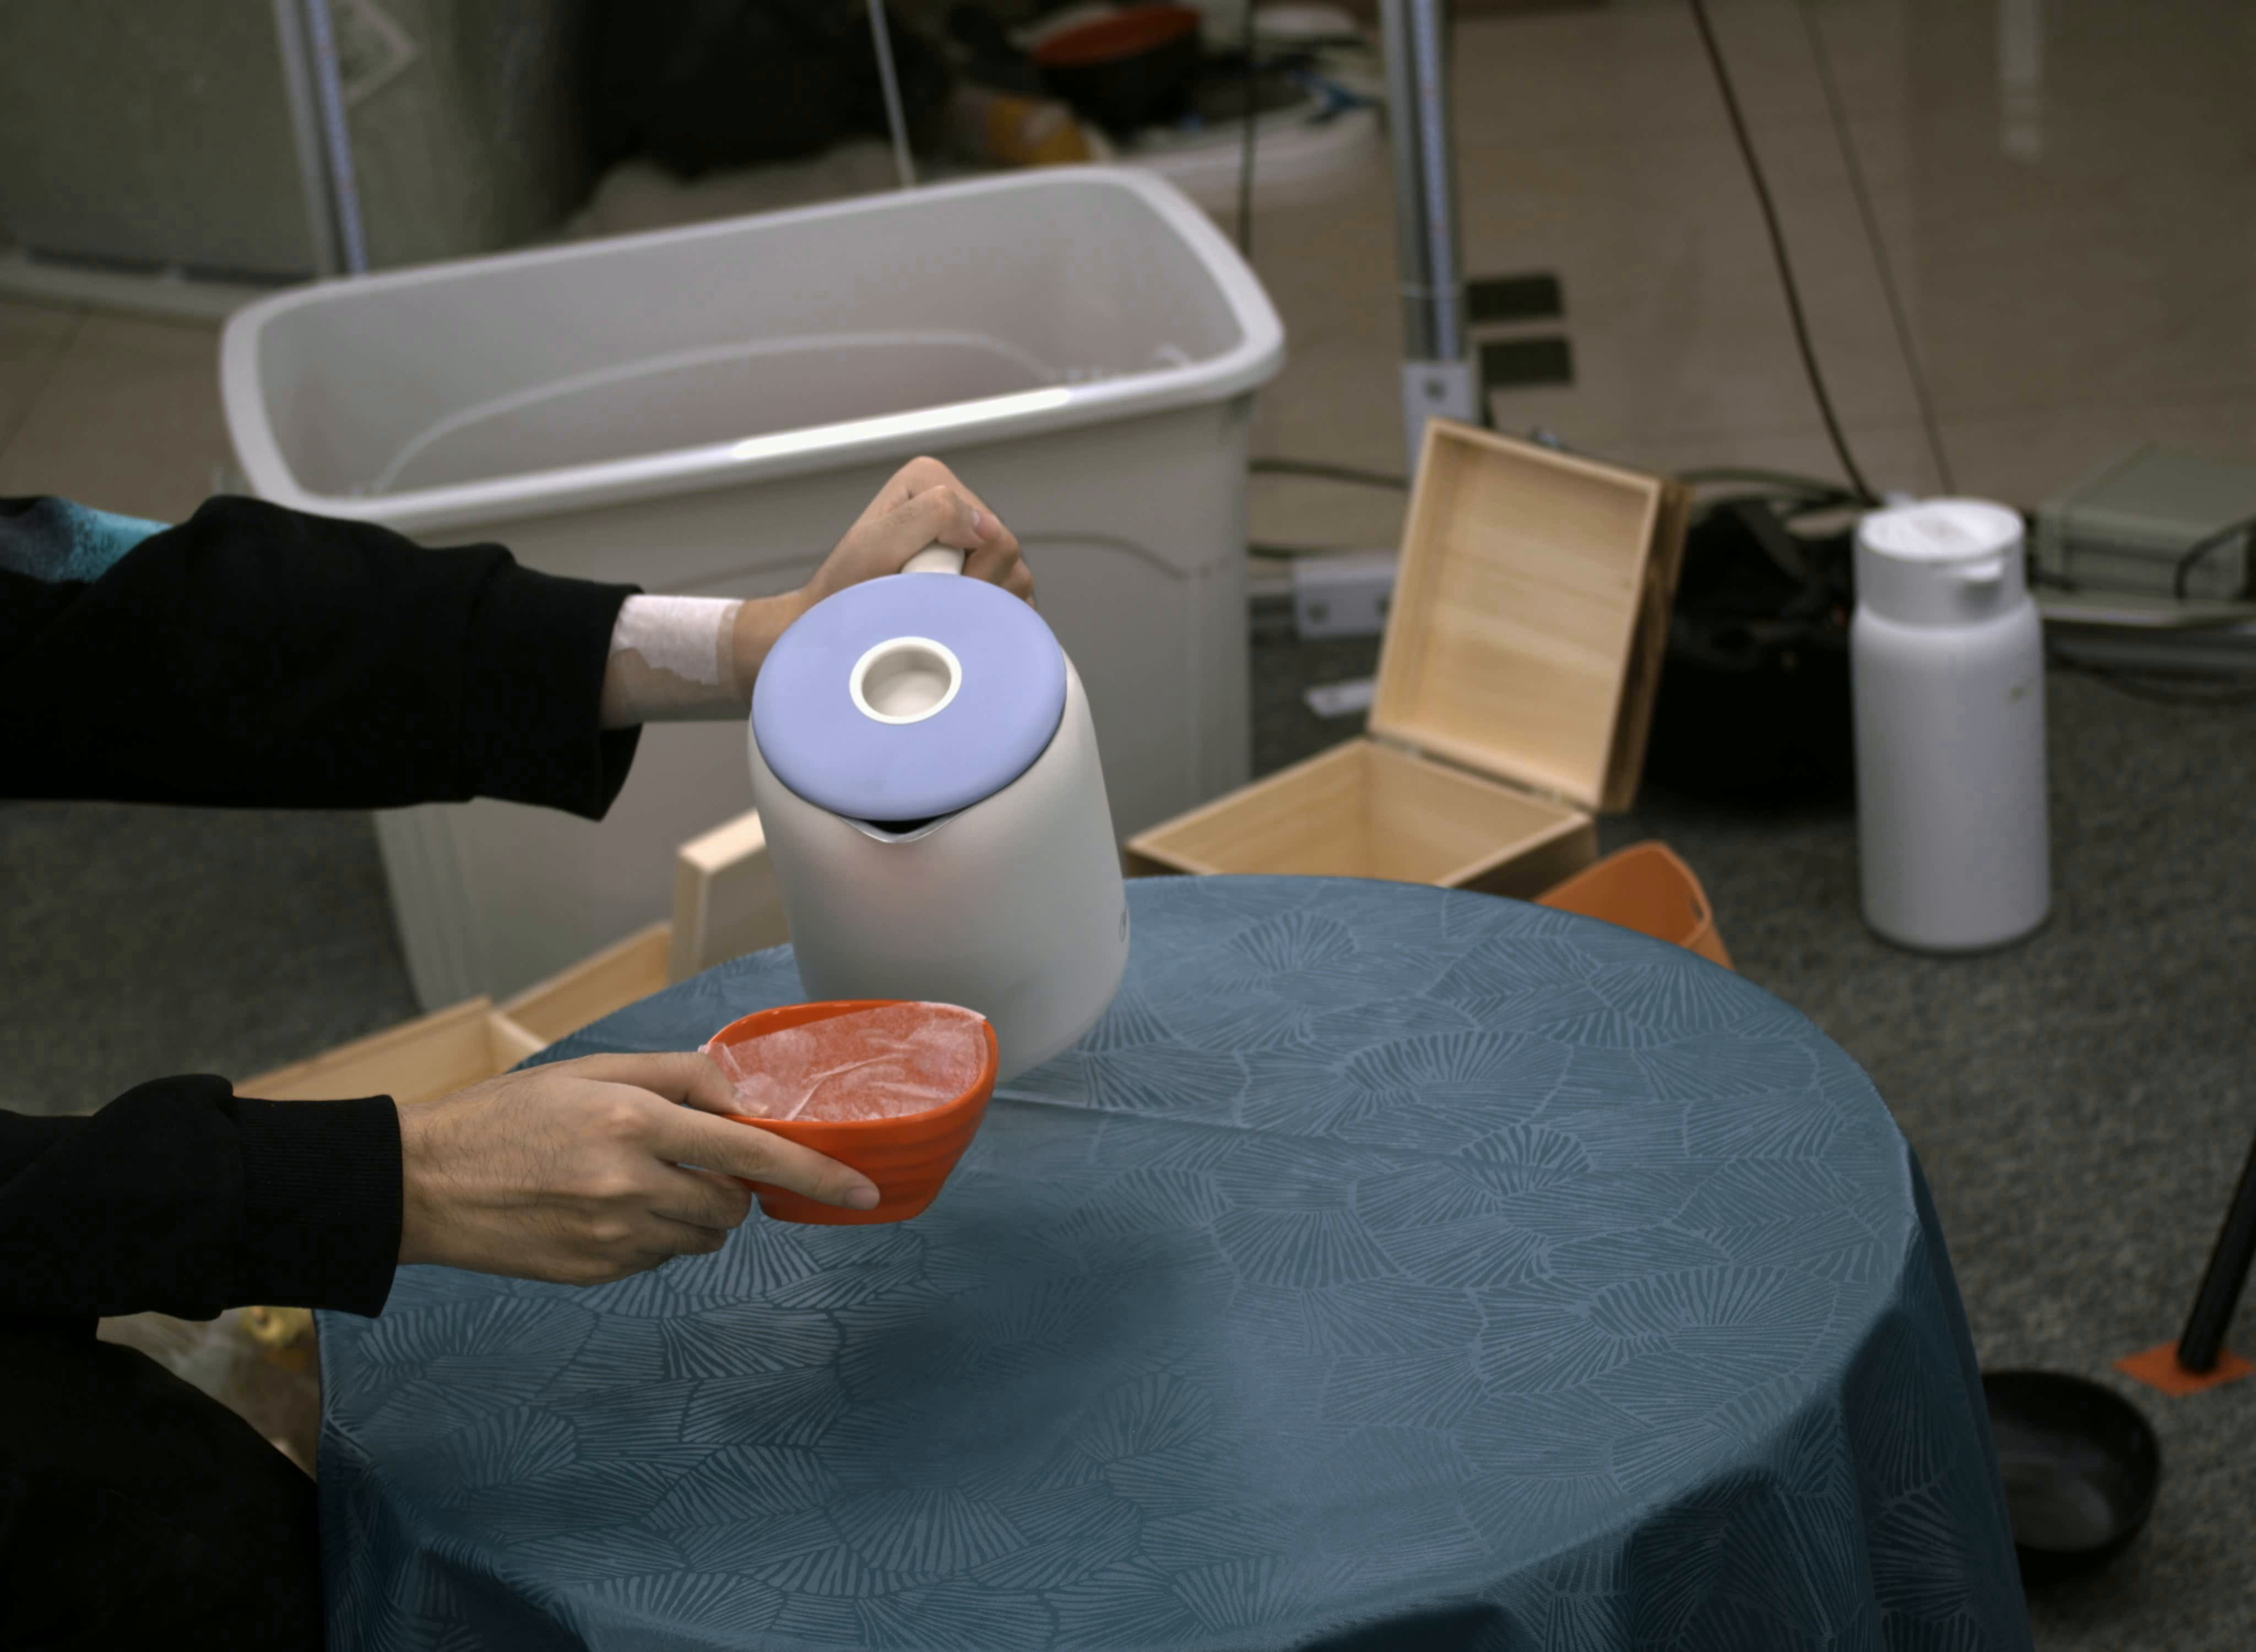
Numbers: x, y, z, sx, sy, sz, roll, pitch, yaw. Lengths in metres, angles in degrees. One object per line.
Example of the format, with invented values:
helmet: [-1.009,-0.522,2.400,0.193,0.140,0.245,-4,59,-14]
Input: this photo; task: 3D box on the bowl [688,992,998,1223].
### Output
bowl: [-0.101,0.104,2.031,0.119,0.052,0.117,-1,24,1]

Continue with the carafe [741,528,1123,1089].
carafe: [-0.074,-0.016,2.167,0.132,0.186,0.187,-4,49,4]
